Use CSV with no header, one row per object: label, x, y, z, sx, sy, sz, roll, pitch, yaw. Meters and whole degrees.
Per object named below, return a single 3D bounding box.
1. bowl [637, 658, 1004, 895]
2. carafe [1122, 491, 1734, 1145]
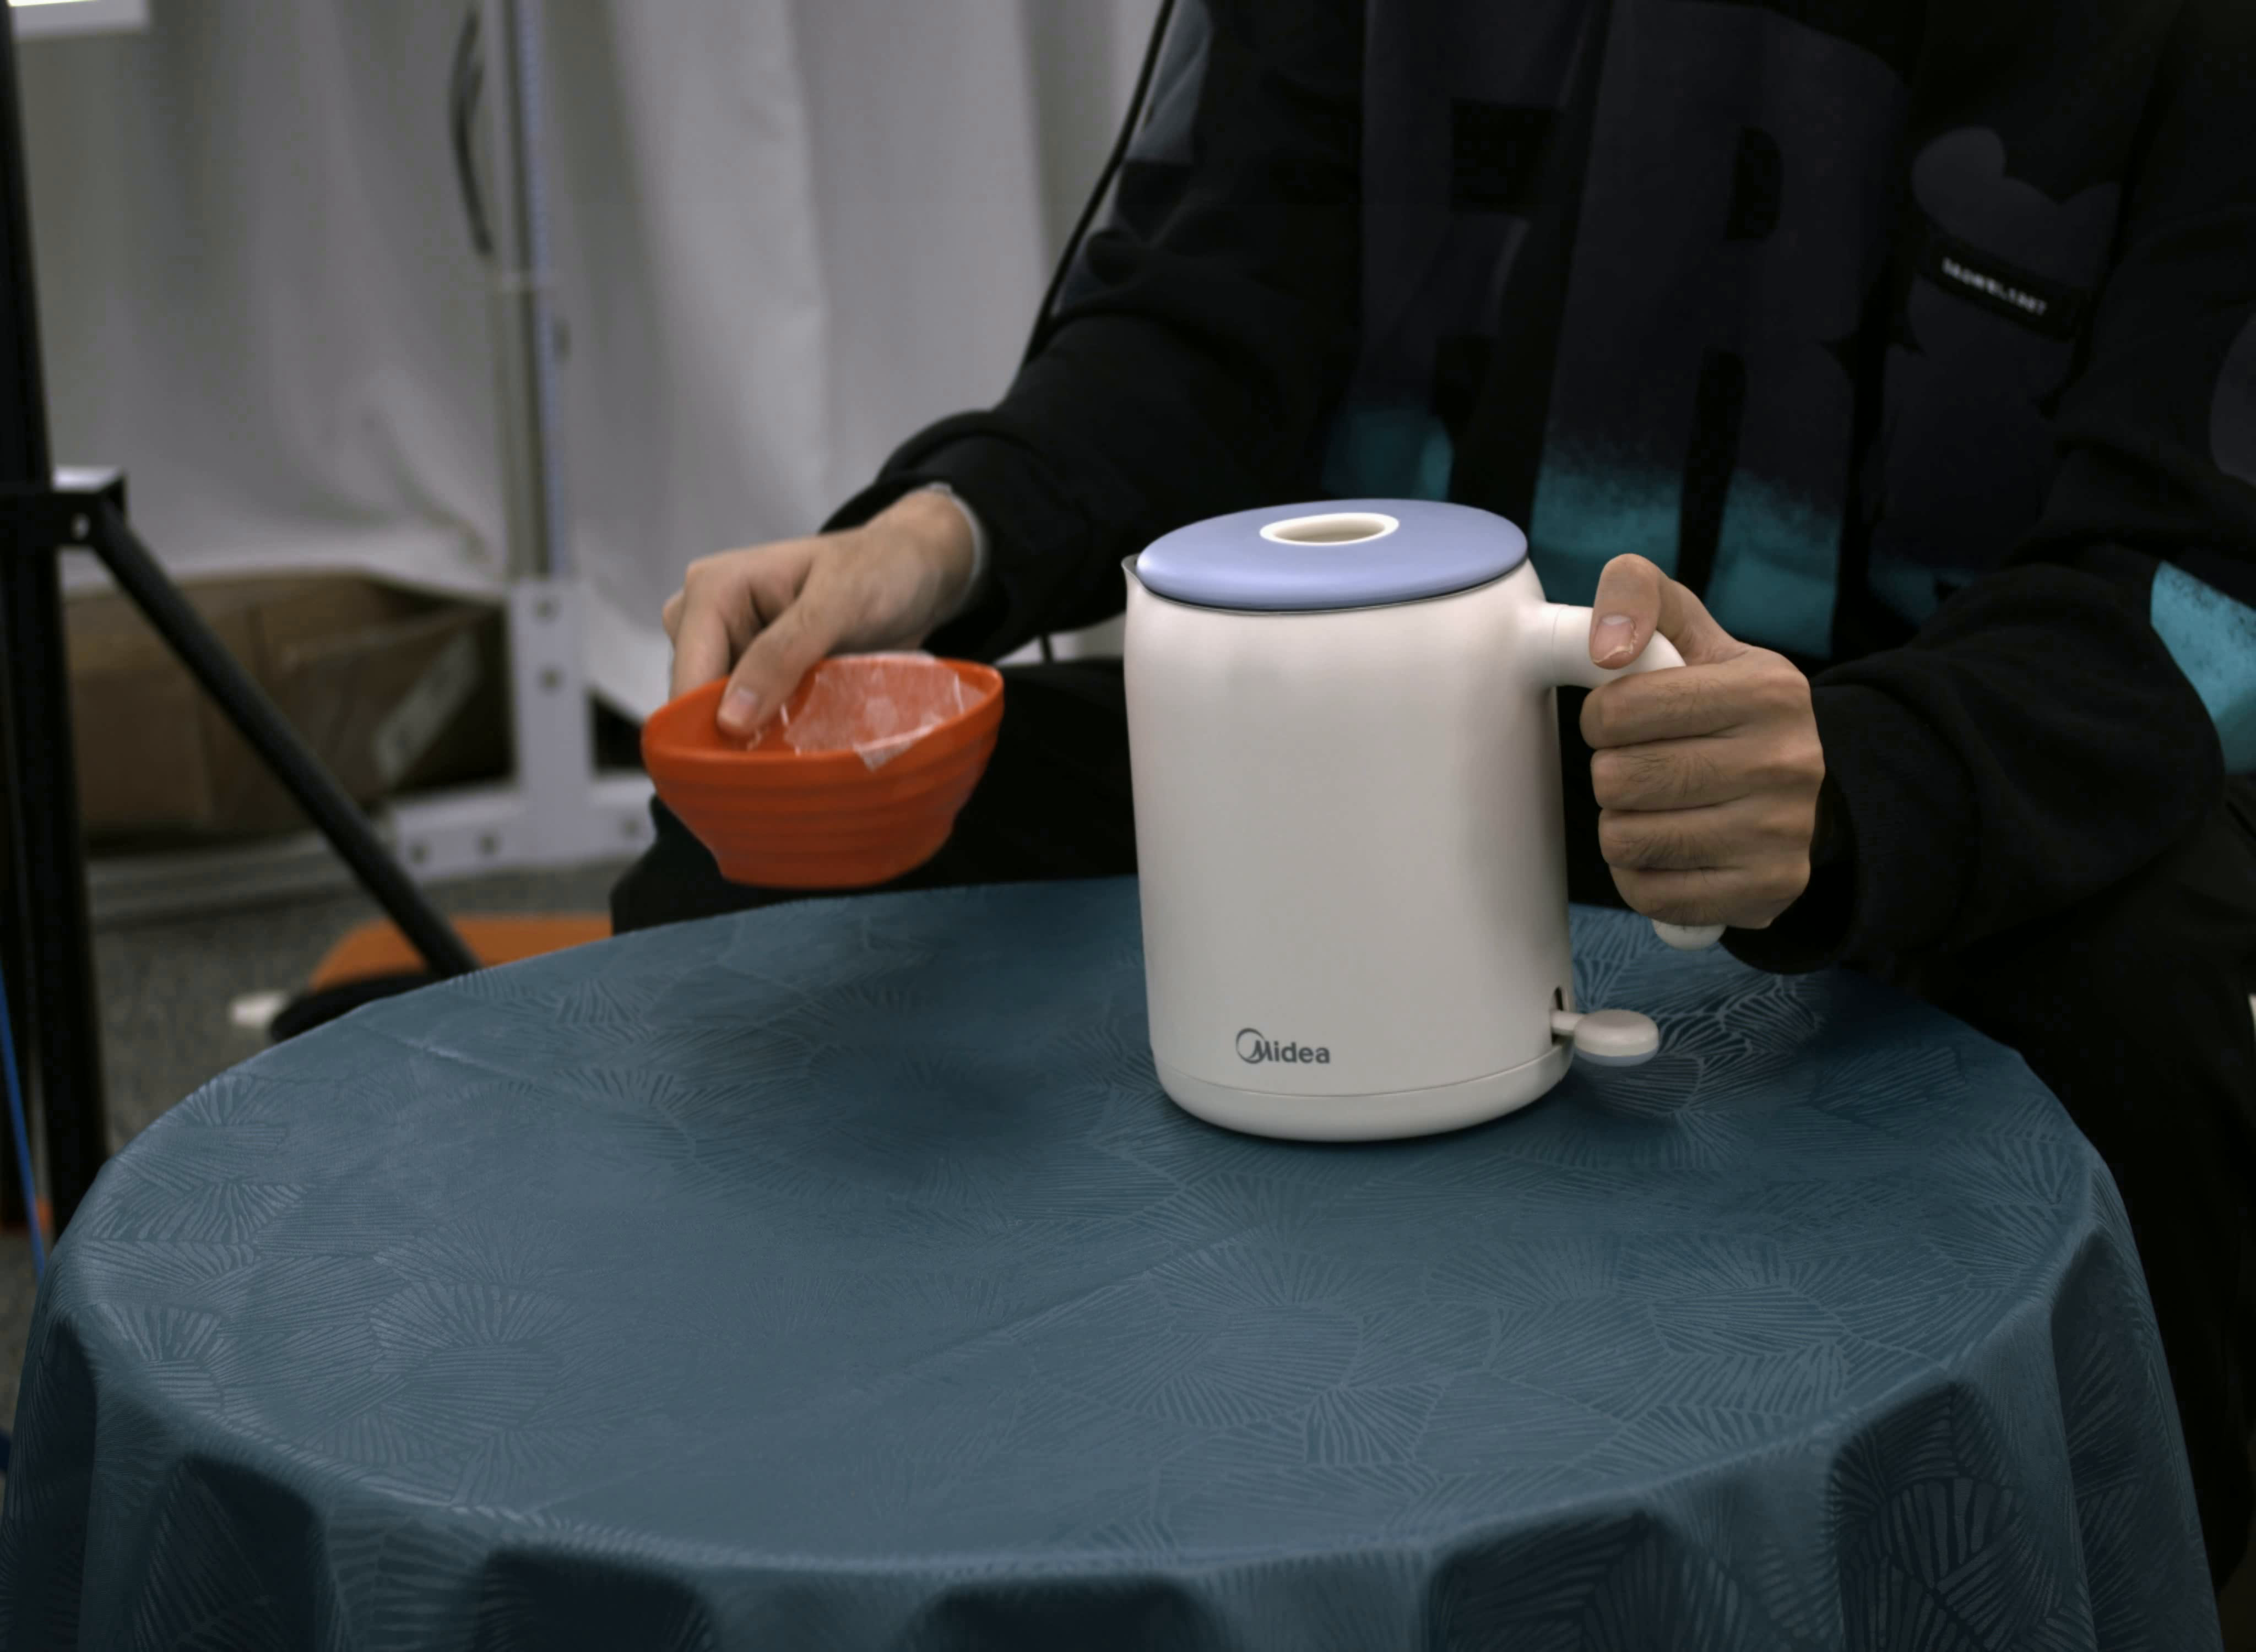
bowl,-0.093,-0.013,1.682,0.118,0.051,0.119,-9,17,1
carafe,0.090,-0.001,1.609,0.194,0.182,0.130,5,18,23
